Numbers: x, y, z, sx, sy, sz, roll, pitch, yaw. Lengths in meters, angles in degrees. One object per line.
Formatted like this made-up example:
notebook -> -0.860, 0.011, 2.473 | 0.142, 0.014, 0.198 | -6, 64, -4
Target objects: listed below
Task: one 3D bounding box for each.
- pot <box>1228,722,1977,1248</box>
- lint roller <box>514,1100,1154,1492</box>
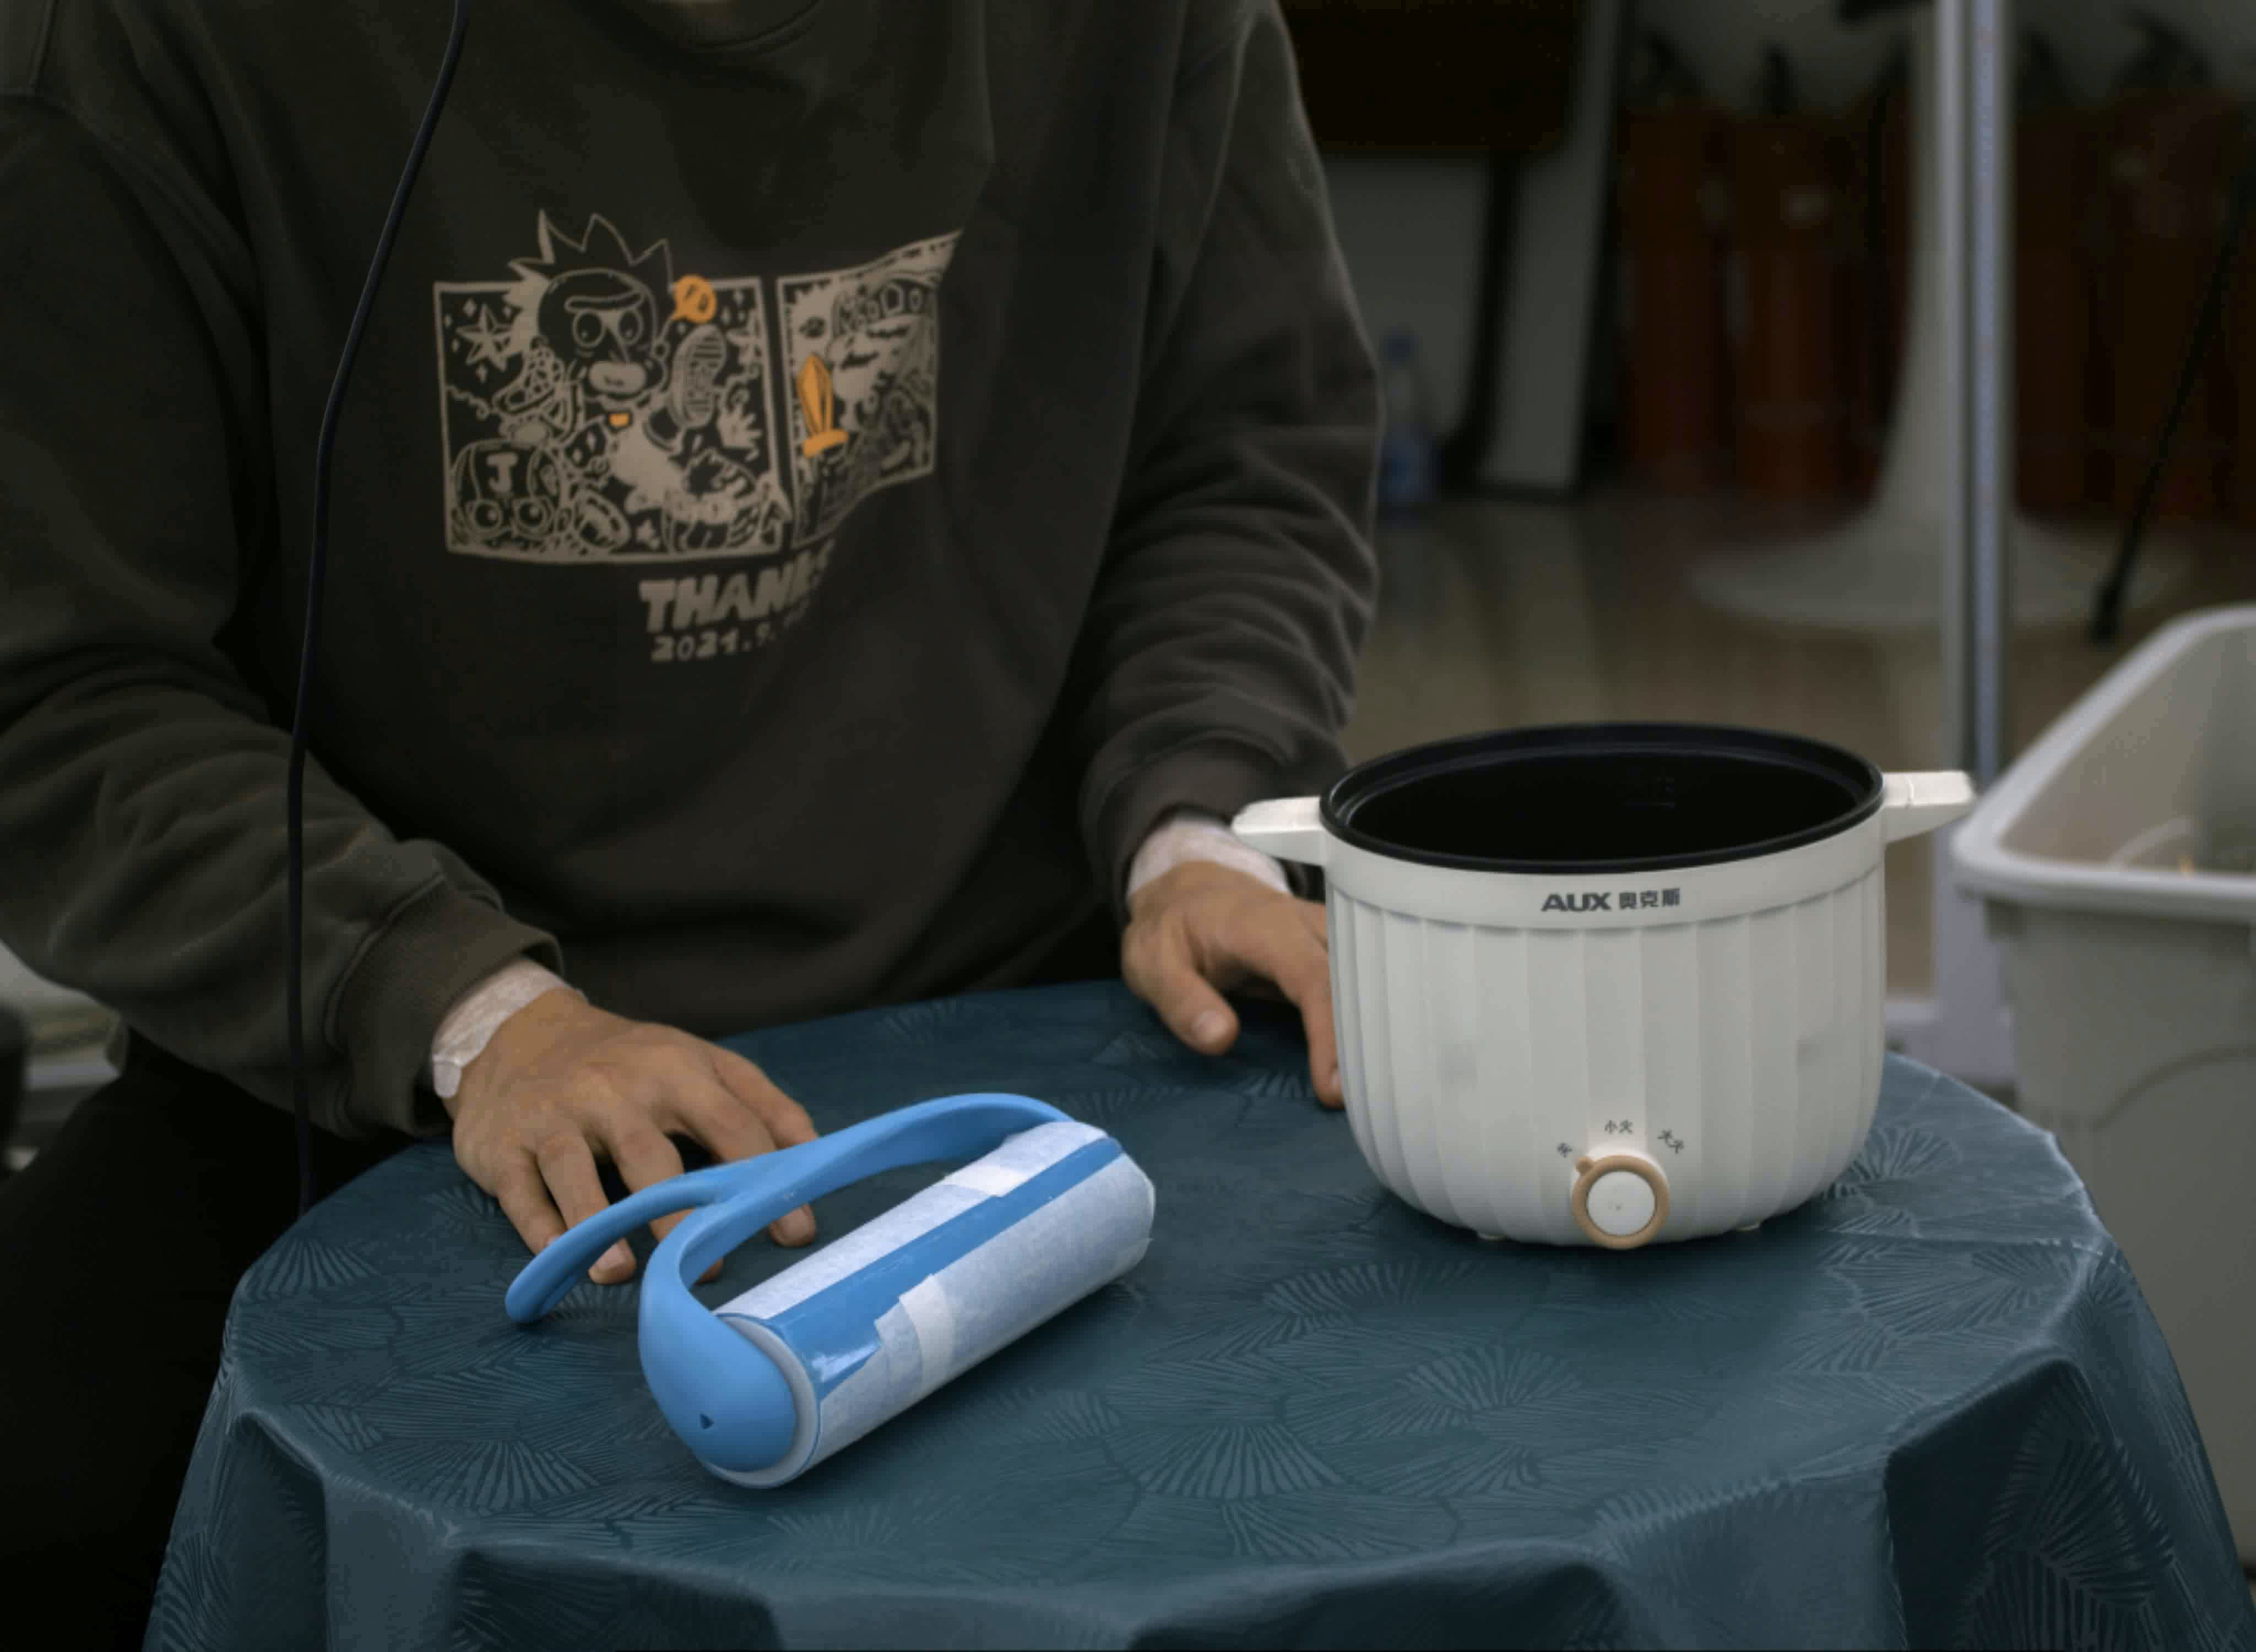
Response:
pot -> 0.155, 0.053, 1.716 | 0.238, 0.144, 0.190 | -4, 10, 5
lint roller -> -0.113, 0.135, 1.631 | 0.181, 0.068, 0.226 | 4, 17, 28
